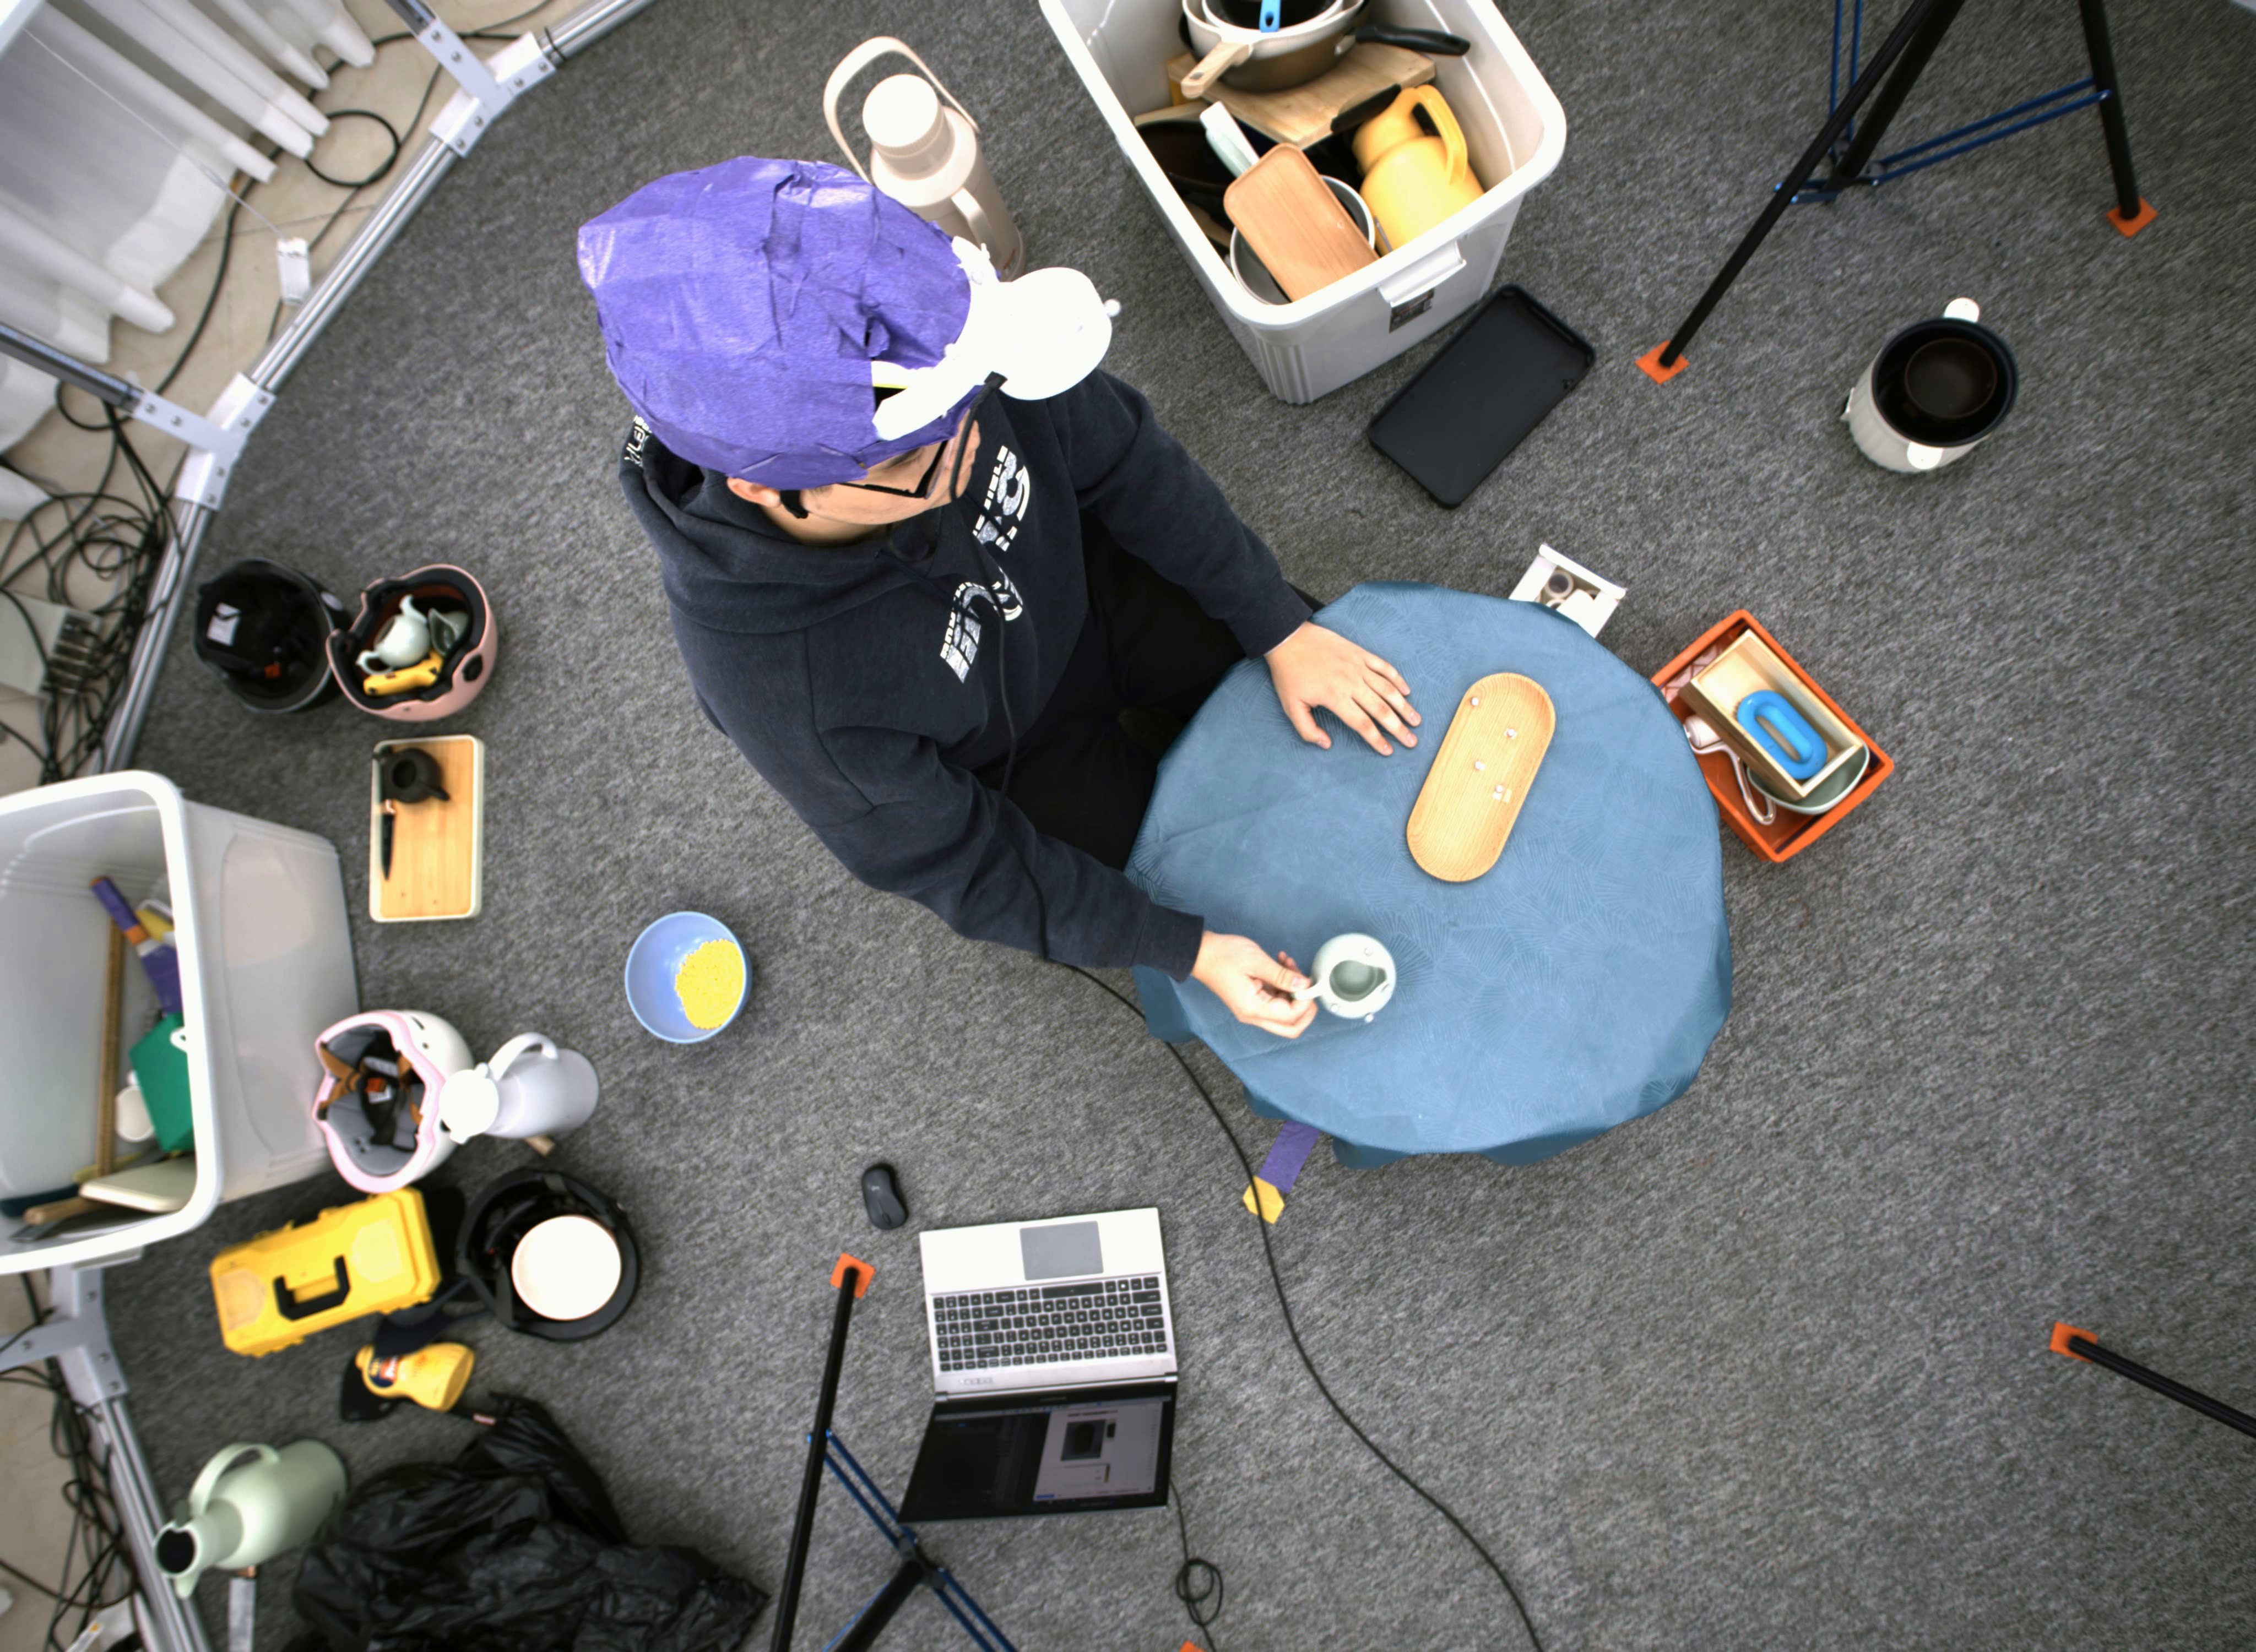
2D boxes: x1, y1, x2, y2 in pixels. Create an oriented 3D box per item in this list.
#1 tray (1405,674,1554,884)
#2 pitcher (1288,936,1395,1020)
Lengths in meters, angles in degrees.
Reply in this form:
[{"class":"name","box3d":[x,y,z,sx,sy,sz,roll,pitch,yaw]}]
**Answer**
[{"class":"tray","box3d":[0.369,-0.051,1.441,0.101,0.020,0.231,24,93,13]},{"class":"pitcher","box3d":[0.215,0.157,1.398,0.109,0.060,0.086,-16,91,16]}]
